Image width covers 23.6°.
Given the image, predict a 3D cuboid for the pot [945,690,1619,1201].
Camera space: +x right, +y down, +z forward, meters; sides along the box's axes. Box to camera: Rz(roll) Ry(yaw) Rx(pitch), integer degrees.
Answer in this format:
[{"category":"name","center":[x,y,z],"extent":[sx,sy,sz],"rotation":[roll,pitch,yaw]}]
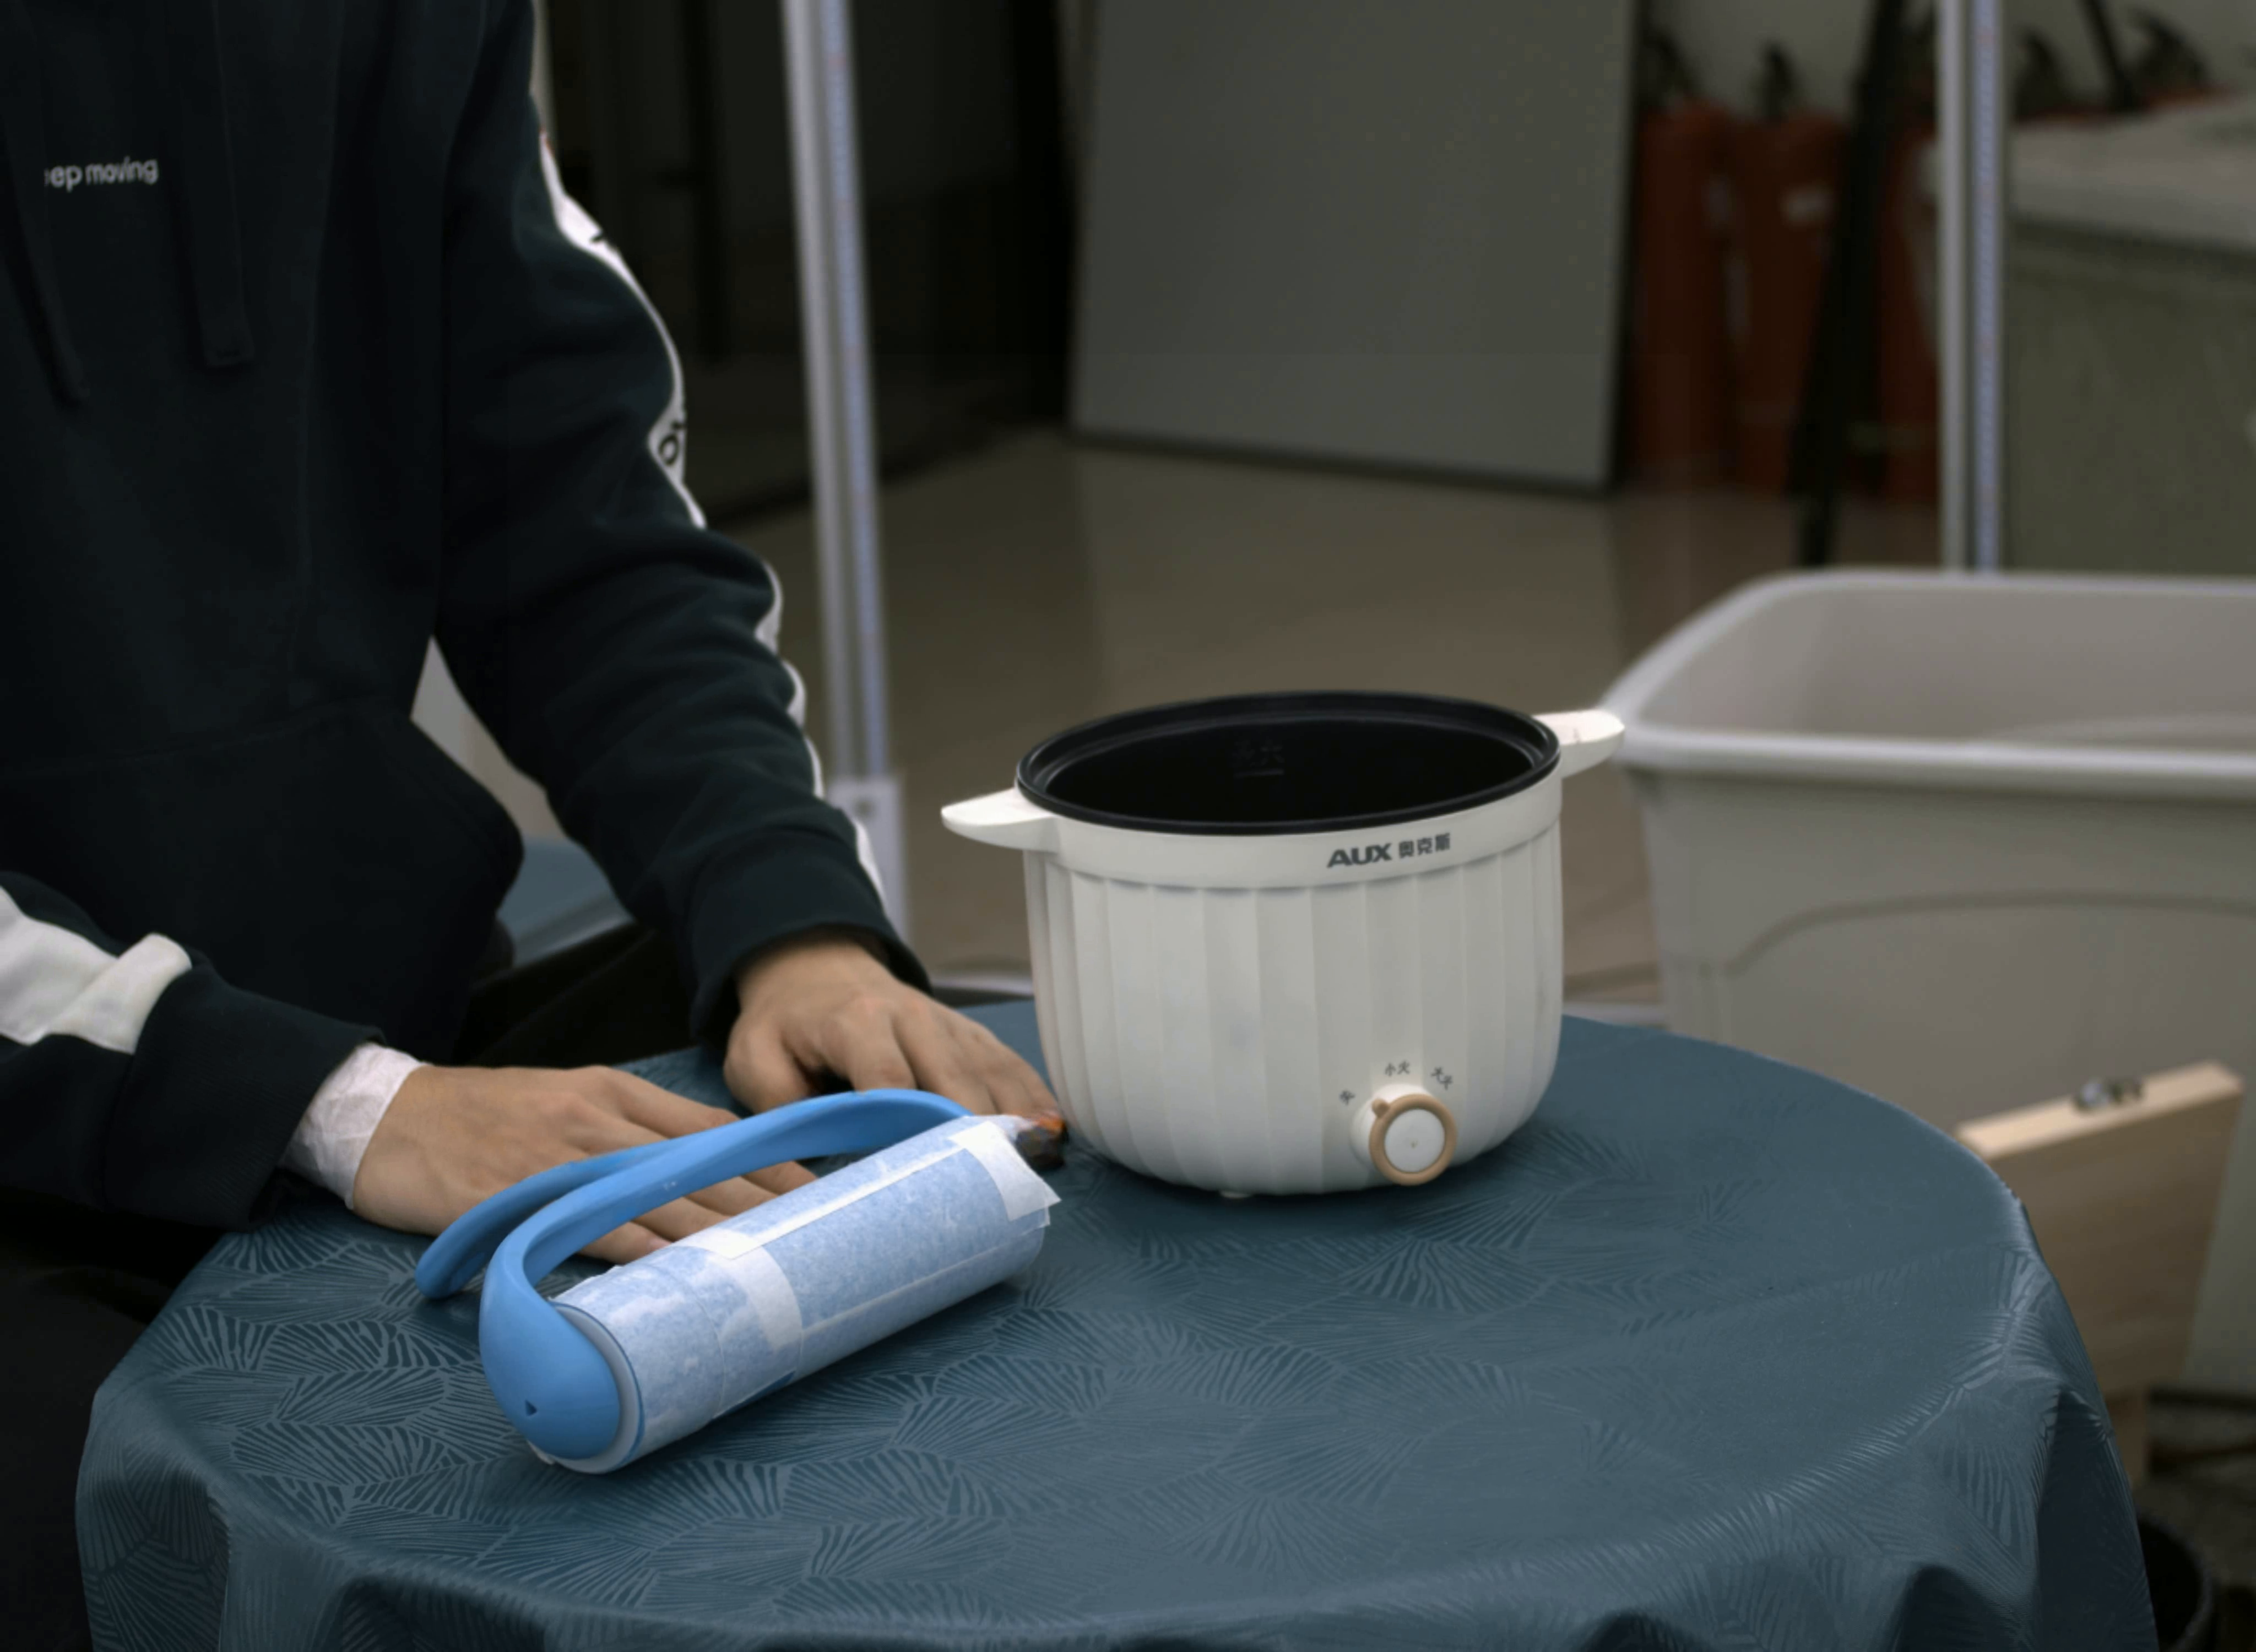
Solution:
[{"category":"pot","center":[0.060,0.041,1.787],"extent":[0.235,0.144,0.192],"rotation":[-10,11,-17]}]

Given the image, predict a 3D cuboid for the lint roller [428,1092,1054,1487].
[{"category":"lint roller","center":[-0.147,0.134,1.649],"extent":[0.181,0.068,0.225],"rotation":[5,19,33]}]
